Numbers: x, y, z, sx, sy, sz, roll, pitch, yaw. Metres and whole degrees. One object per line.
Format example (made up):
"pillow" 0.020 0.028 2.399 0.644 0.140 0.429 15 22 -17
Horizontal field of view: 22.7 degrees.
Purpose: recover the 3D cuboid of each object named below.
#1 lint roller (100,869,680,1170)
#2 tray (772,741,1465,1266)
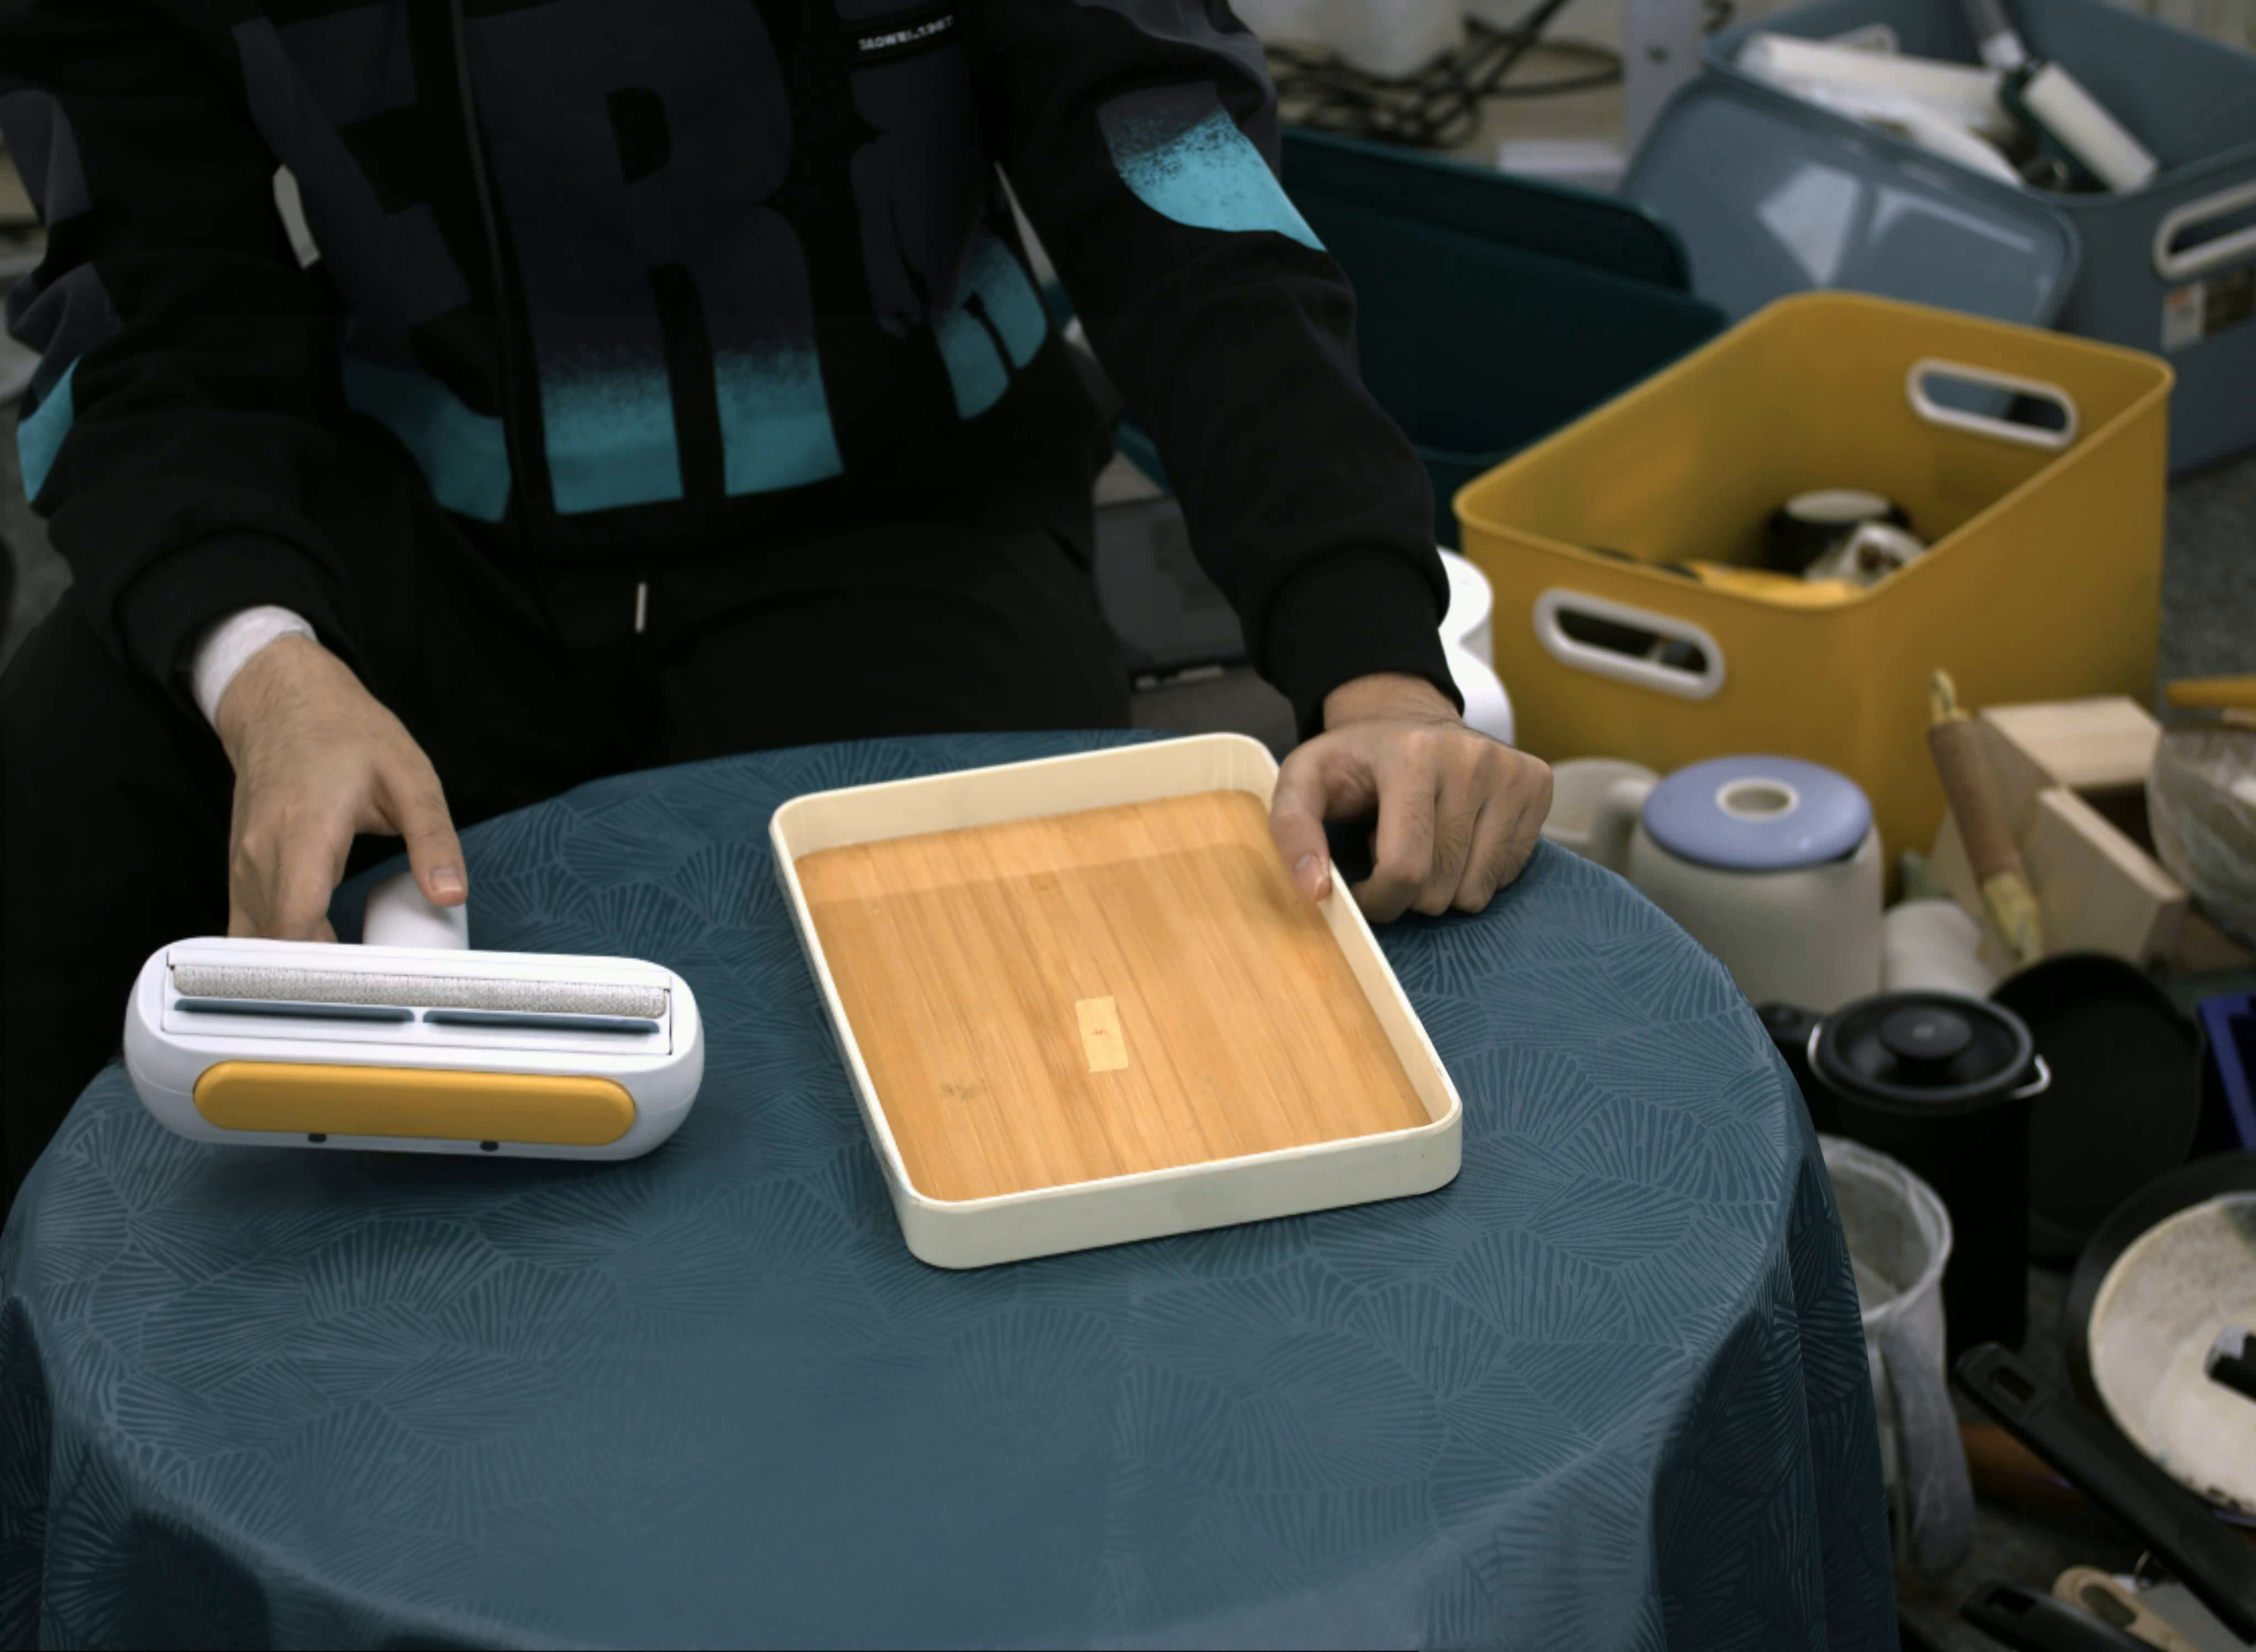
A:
"lint roller" -0.249 0.053 1.938 0.192 0.073 0.195 1 29 -4
"tray" -0.009 0.056 1.958 0.191 0.027 0.304 -7 28 -10
